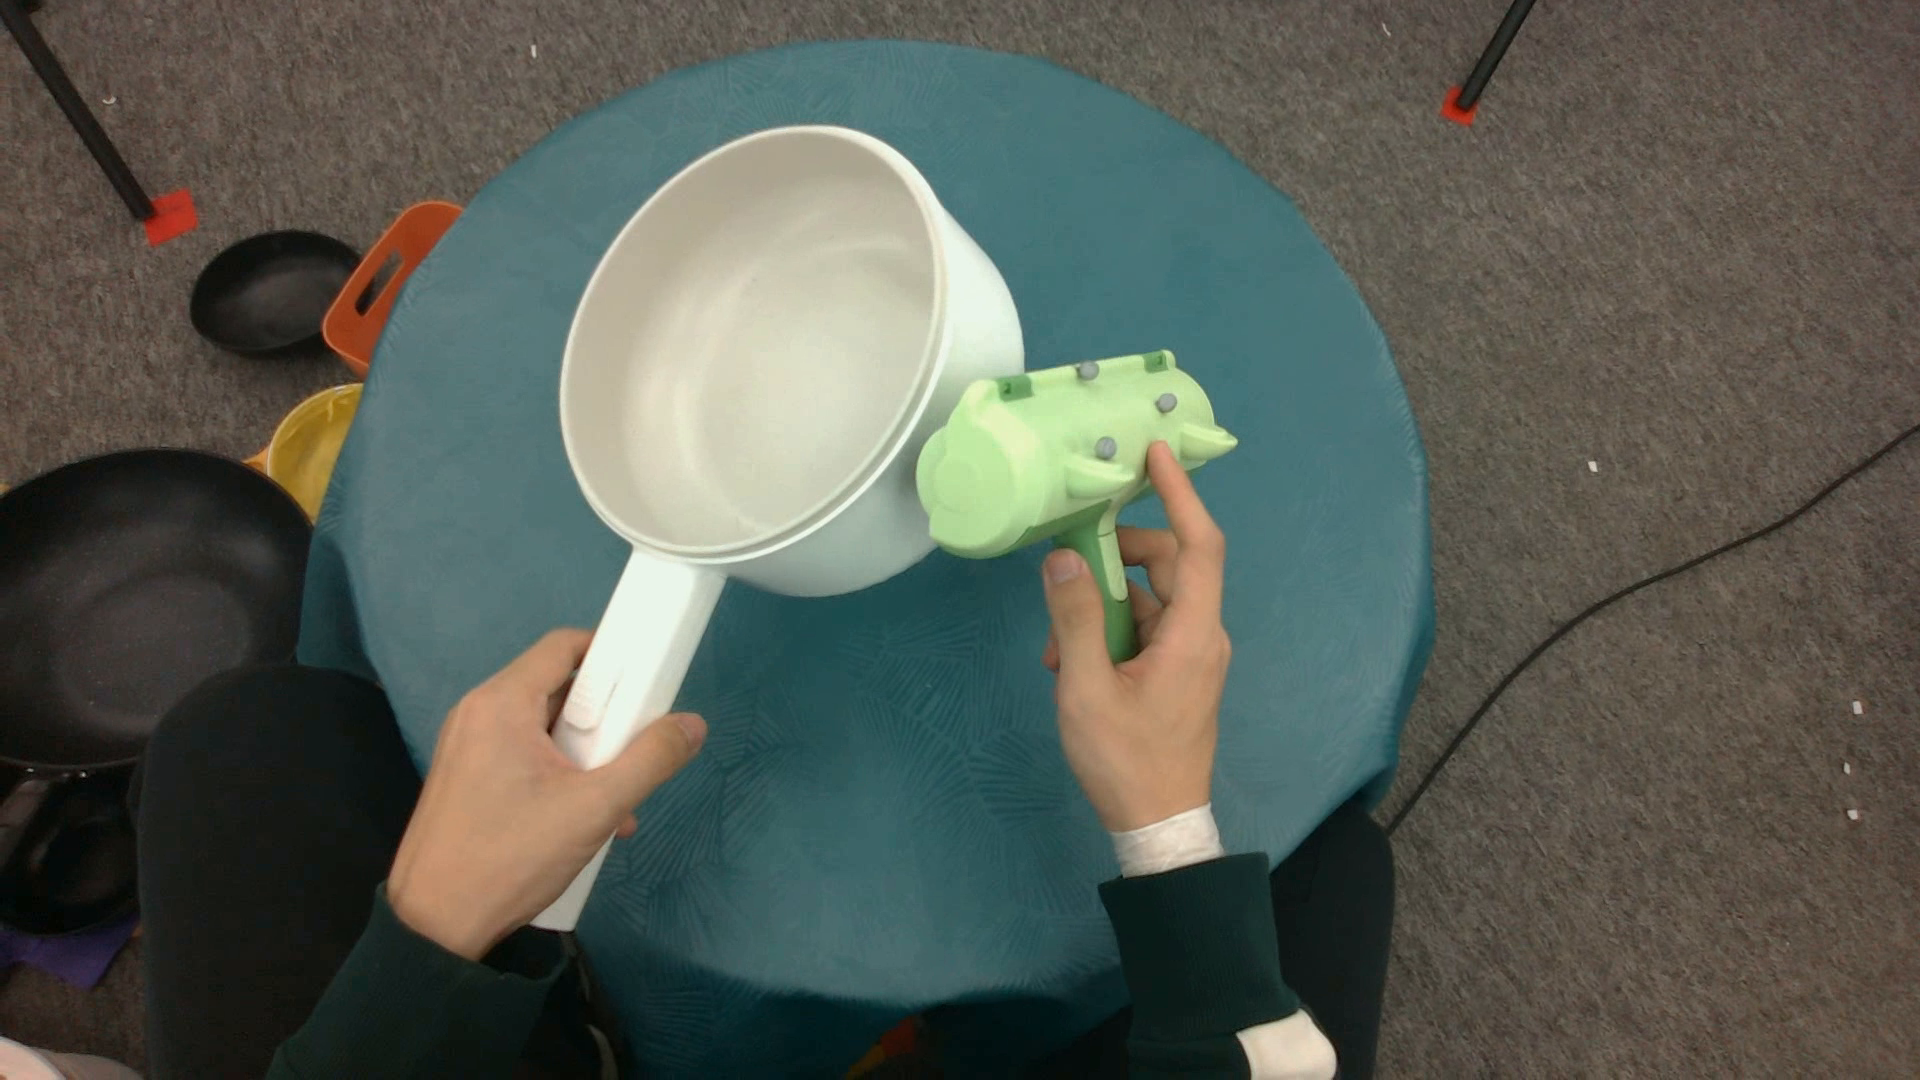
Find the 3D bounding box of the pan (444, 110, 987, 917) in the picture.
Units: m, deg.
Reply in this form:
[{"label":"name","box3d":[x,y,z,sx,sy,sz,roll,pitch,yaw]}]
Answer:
[{"label":"pan","box3d":[-0.114,-0.008,0.609,0.201,0.102,0.355,17,82,30]}]

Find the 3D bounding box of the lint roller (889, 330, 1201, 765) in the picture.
[{"label":"lint roller","box3d":[0.058,0.005,0.589,0.082,0.199,0.183,-13,95,30]}]
